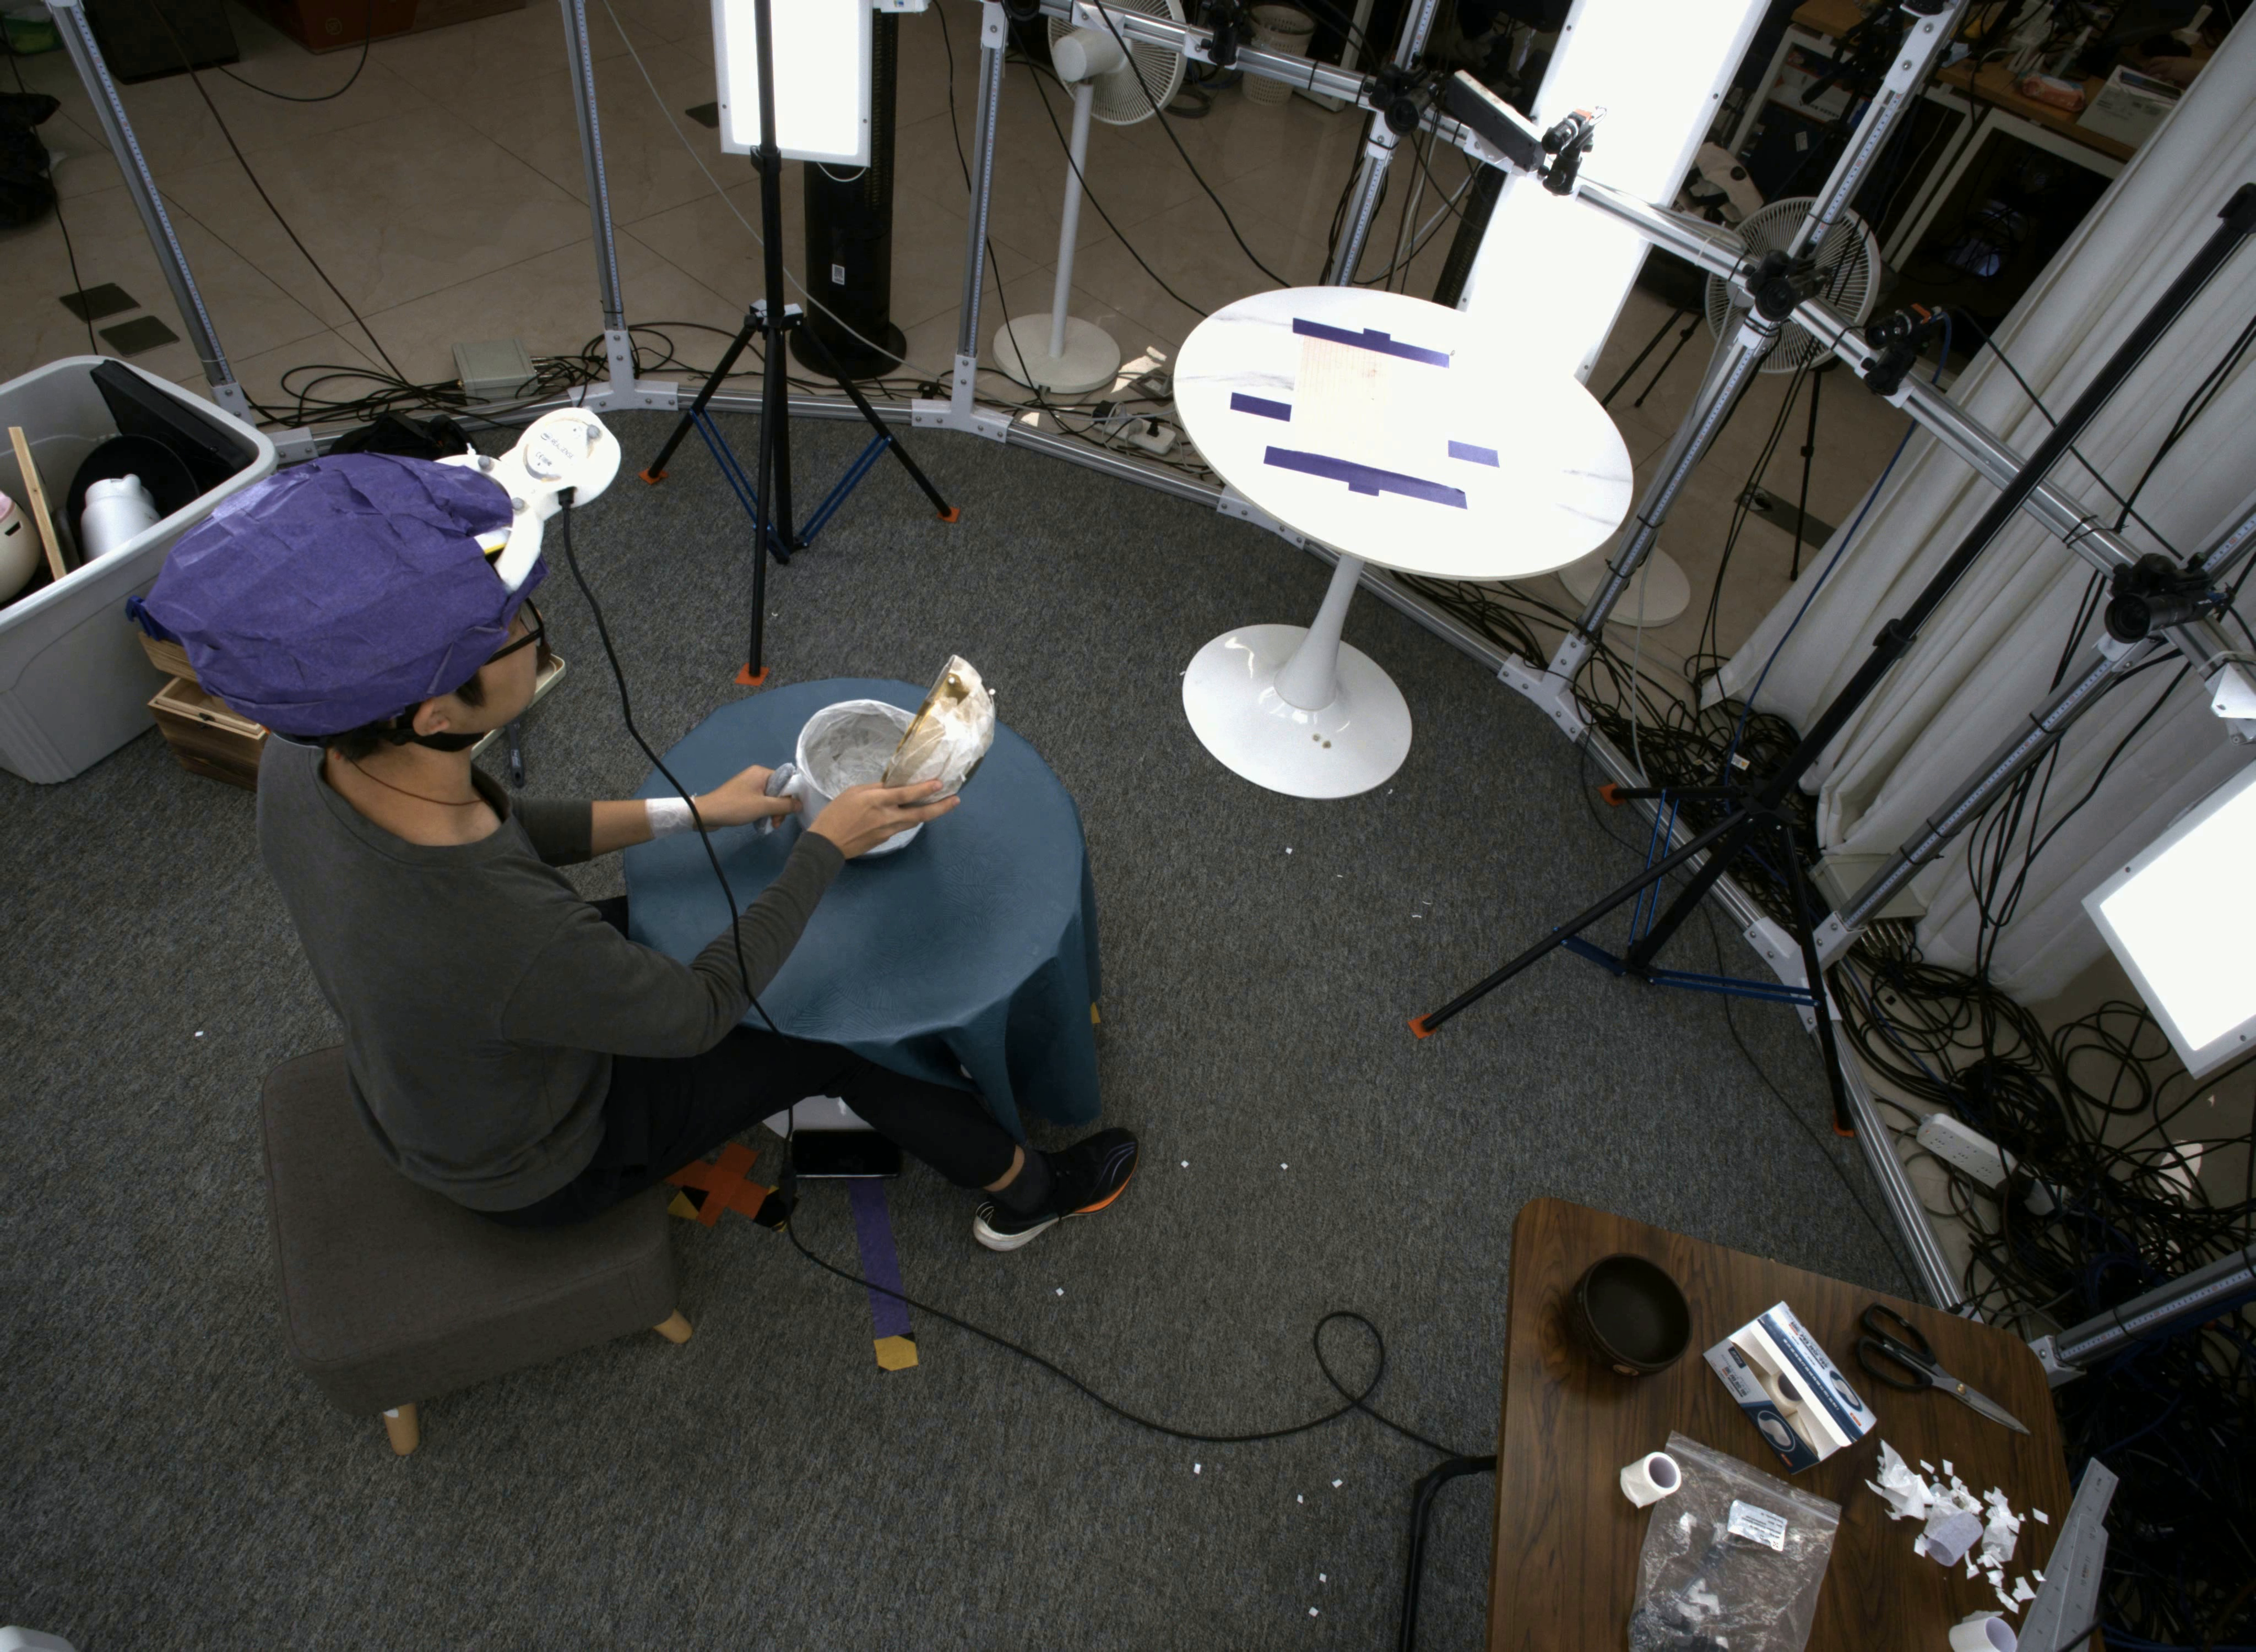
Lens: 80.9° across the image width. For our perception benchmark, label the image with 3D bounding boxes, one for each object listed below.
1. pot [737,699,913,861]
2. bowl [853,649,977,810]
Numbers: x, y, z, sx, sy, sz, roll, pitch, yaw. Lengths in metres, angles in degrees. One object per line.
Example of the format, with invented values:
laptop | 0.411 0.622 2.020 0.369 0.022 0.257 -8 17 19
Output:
pot | -0.390 -0.049 1.684 0.235 0.139 0.175 -16 61 -27
bowl | -0.245 -0.099 1.578 0.096 0.214 0.212 28 49 -15
